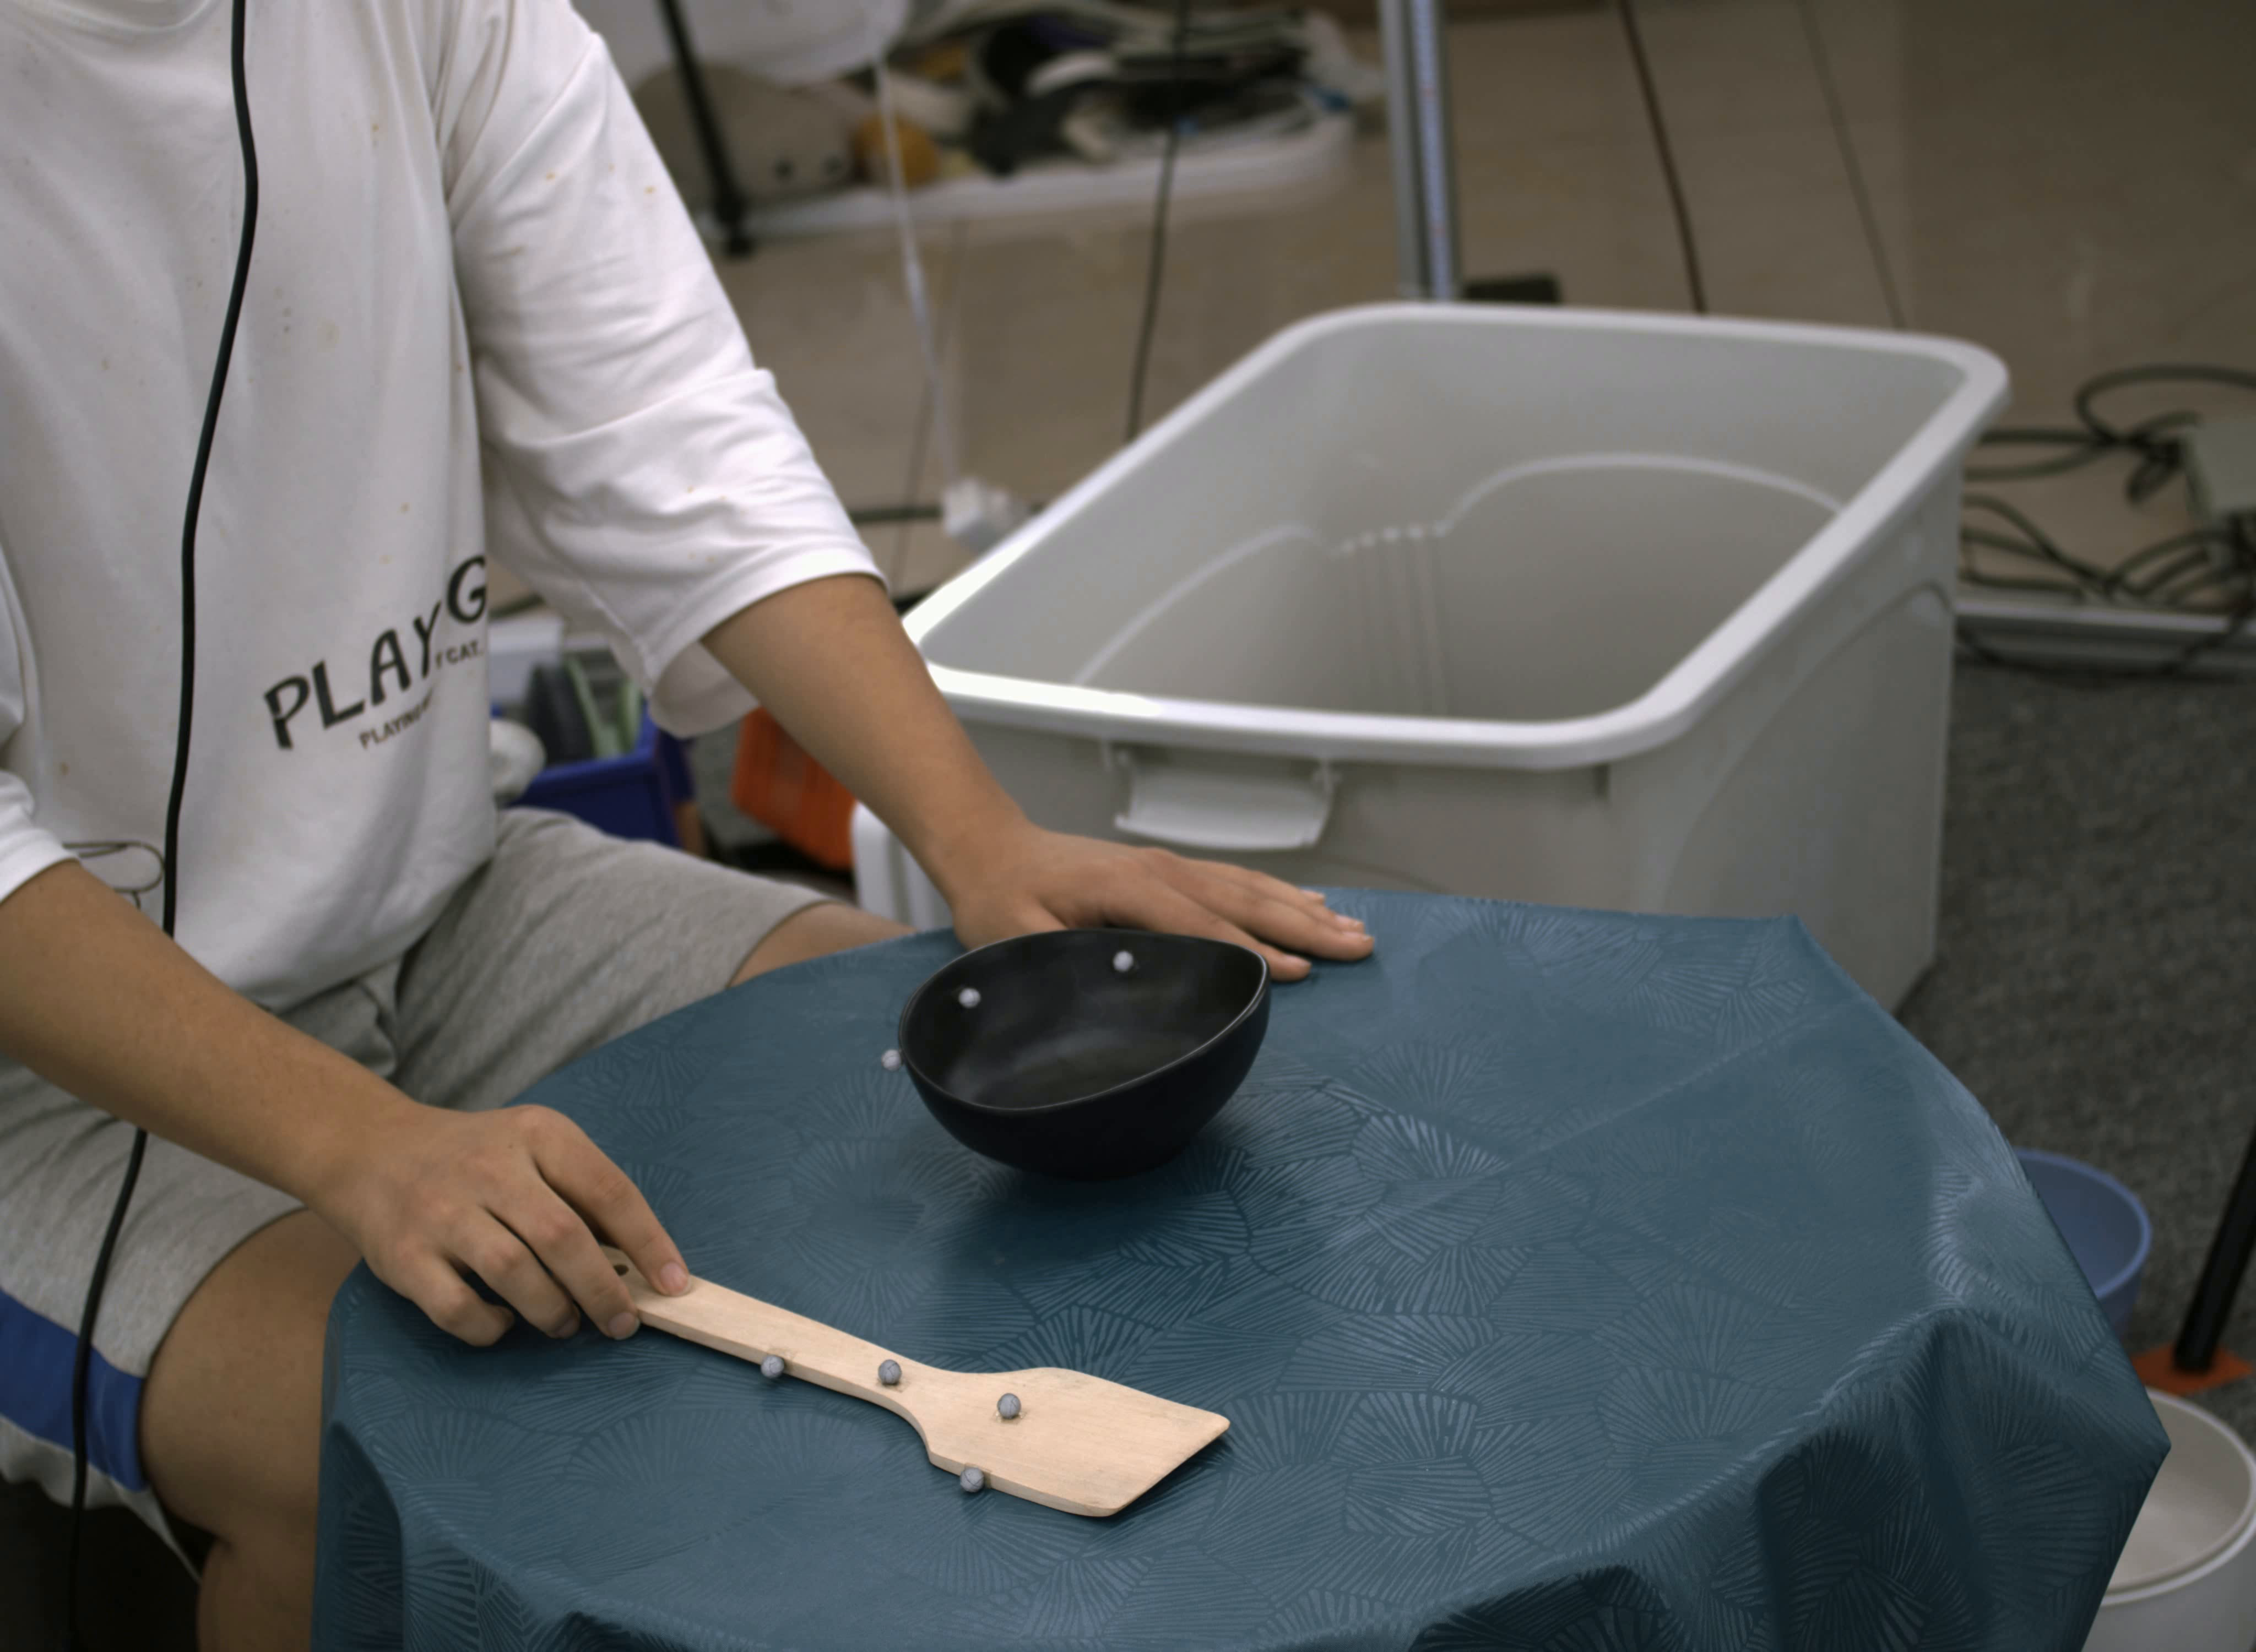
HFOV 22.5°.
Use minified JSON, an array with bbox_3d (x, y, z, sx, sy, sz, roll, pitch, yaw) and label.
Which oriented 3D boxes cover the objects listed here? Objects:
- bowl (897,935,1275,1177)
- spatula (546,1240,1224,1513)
[{"bbox_3d":[-0.013,0.092,2.174,0.137,0.068,0.168,6,26,26],"label":"bowl"},{"bbox_3d":[-0.099,0.193,2.040,0.291,0.011,0.071,15,33,36],"label":"spatula"}]
